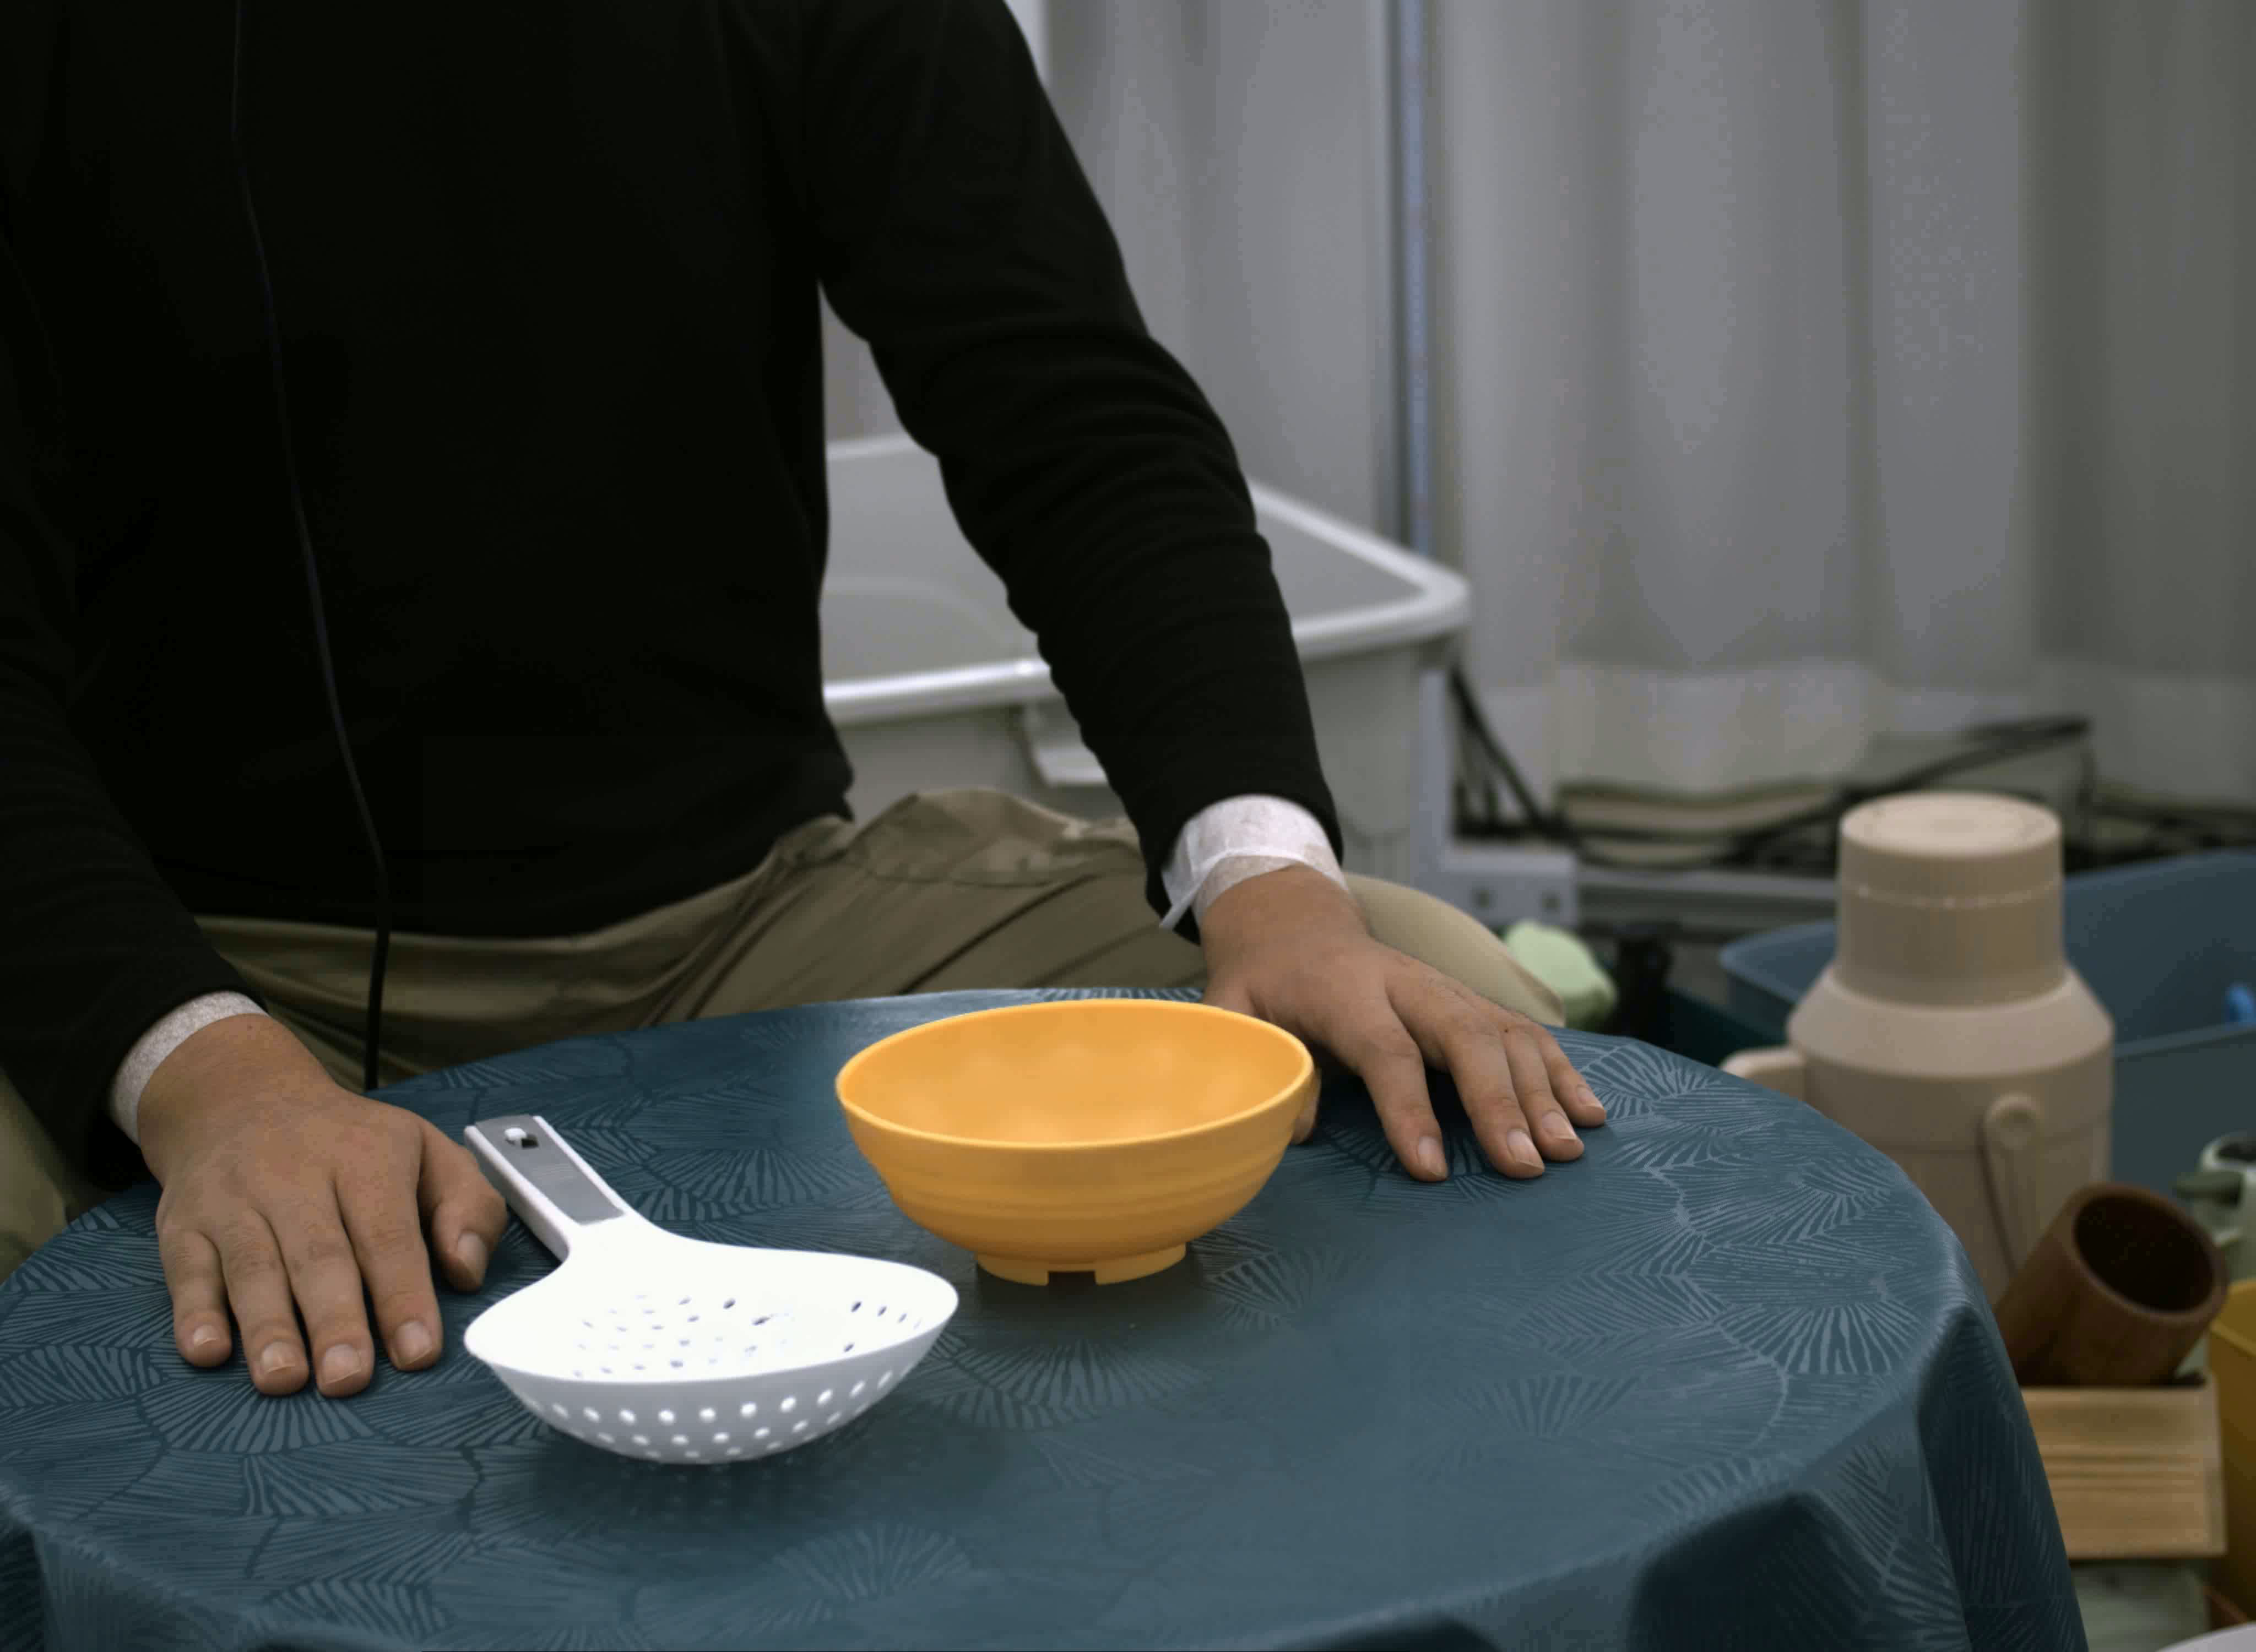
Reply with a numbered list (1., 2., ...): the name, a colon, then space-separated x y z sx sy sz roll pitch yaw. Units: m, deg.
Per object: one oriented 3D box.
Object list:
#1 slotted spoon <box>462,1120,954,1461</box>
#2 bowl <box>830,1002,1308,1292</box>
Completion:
1. slotted spoon: -0.149 0.127 1.609 0.135 0.045 0.352 -7 14 -17
2. bowl: -0.017 0.102 1.656 0.145 0.060 0.146 -1 15 0
